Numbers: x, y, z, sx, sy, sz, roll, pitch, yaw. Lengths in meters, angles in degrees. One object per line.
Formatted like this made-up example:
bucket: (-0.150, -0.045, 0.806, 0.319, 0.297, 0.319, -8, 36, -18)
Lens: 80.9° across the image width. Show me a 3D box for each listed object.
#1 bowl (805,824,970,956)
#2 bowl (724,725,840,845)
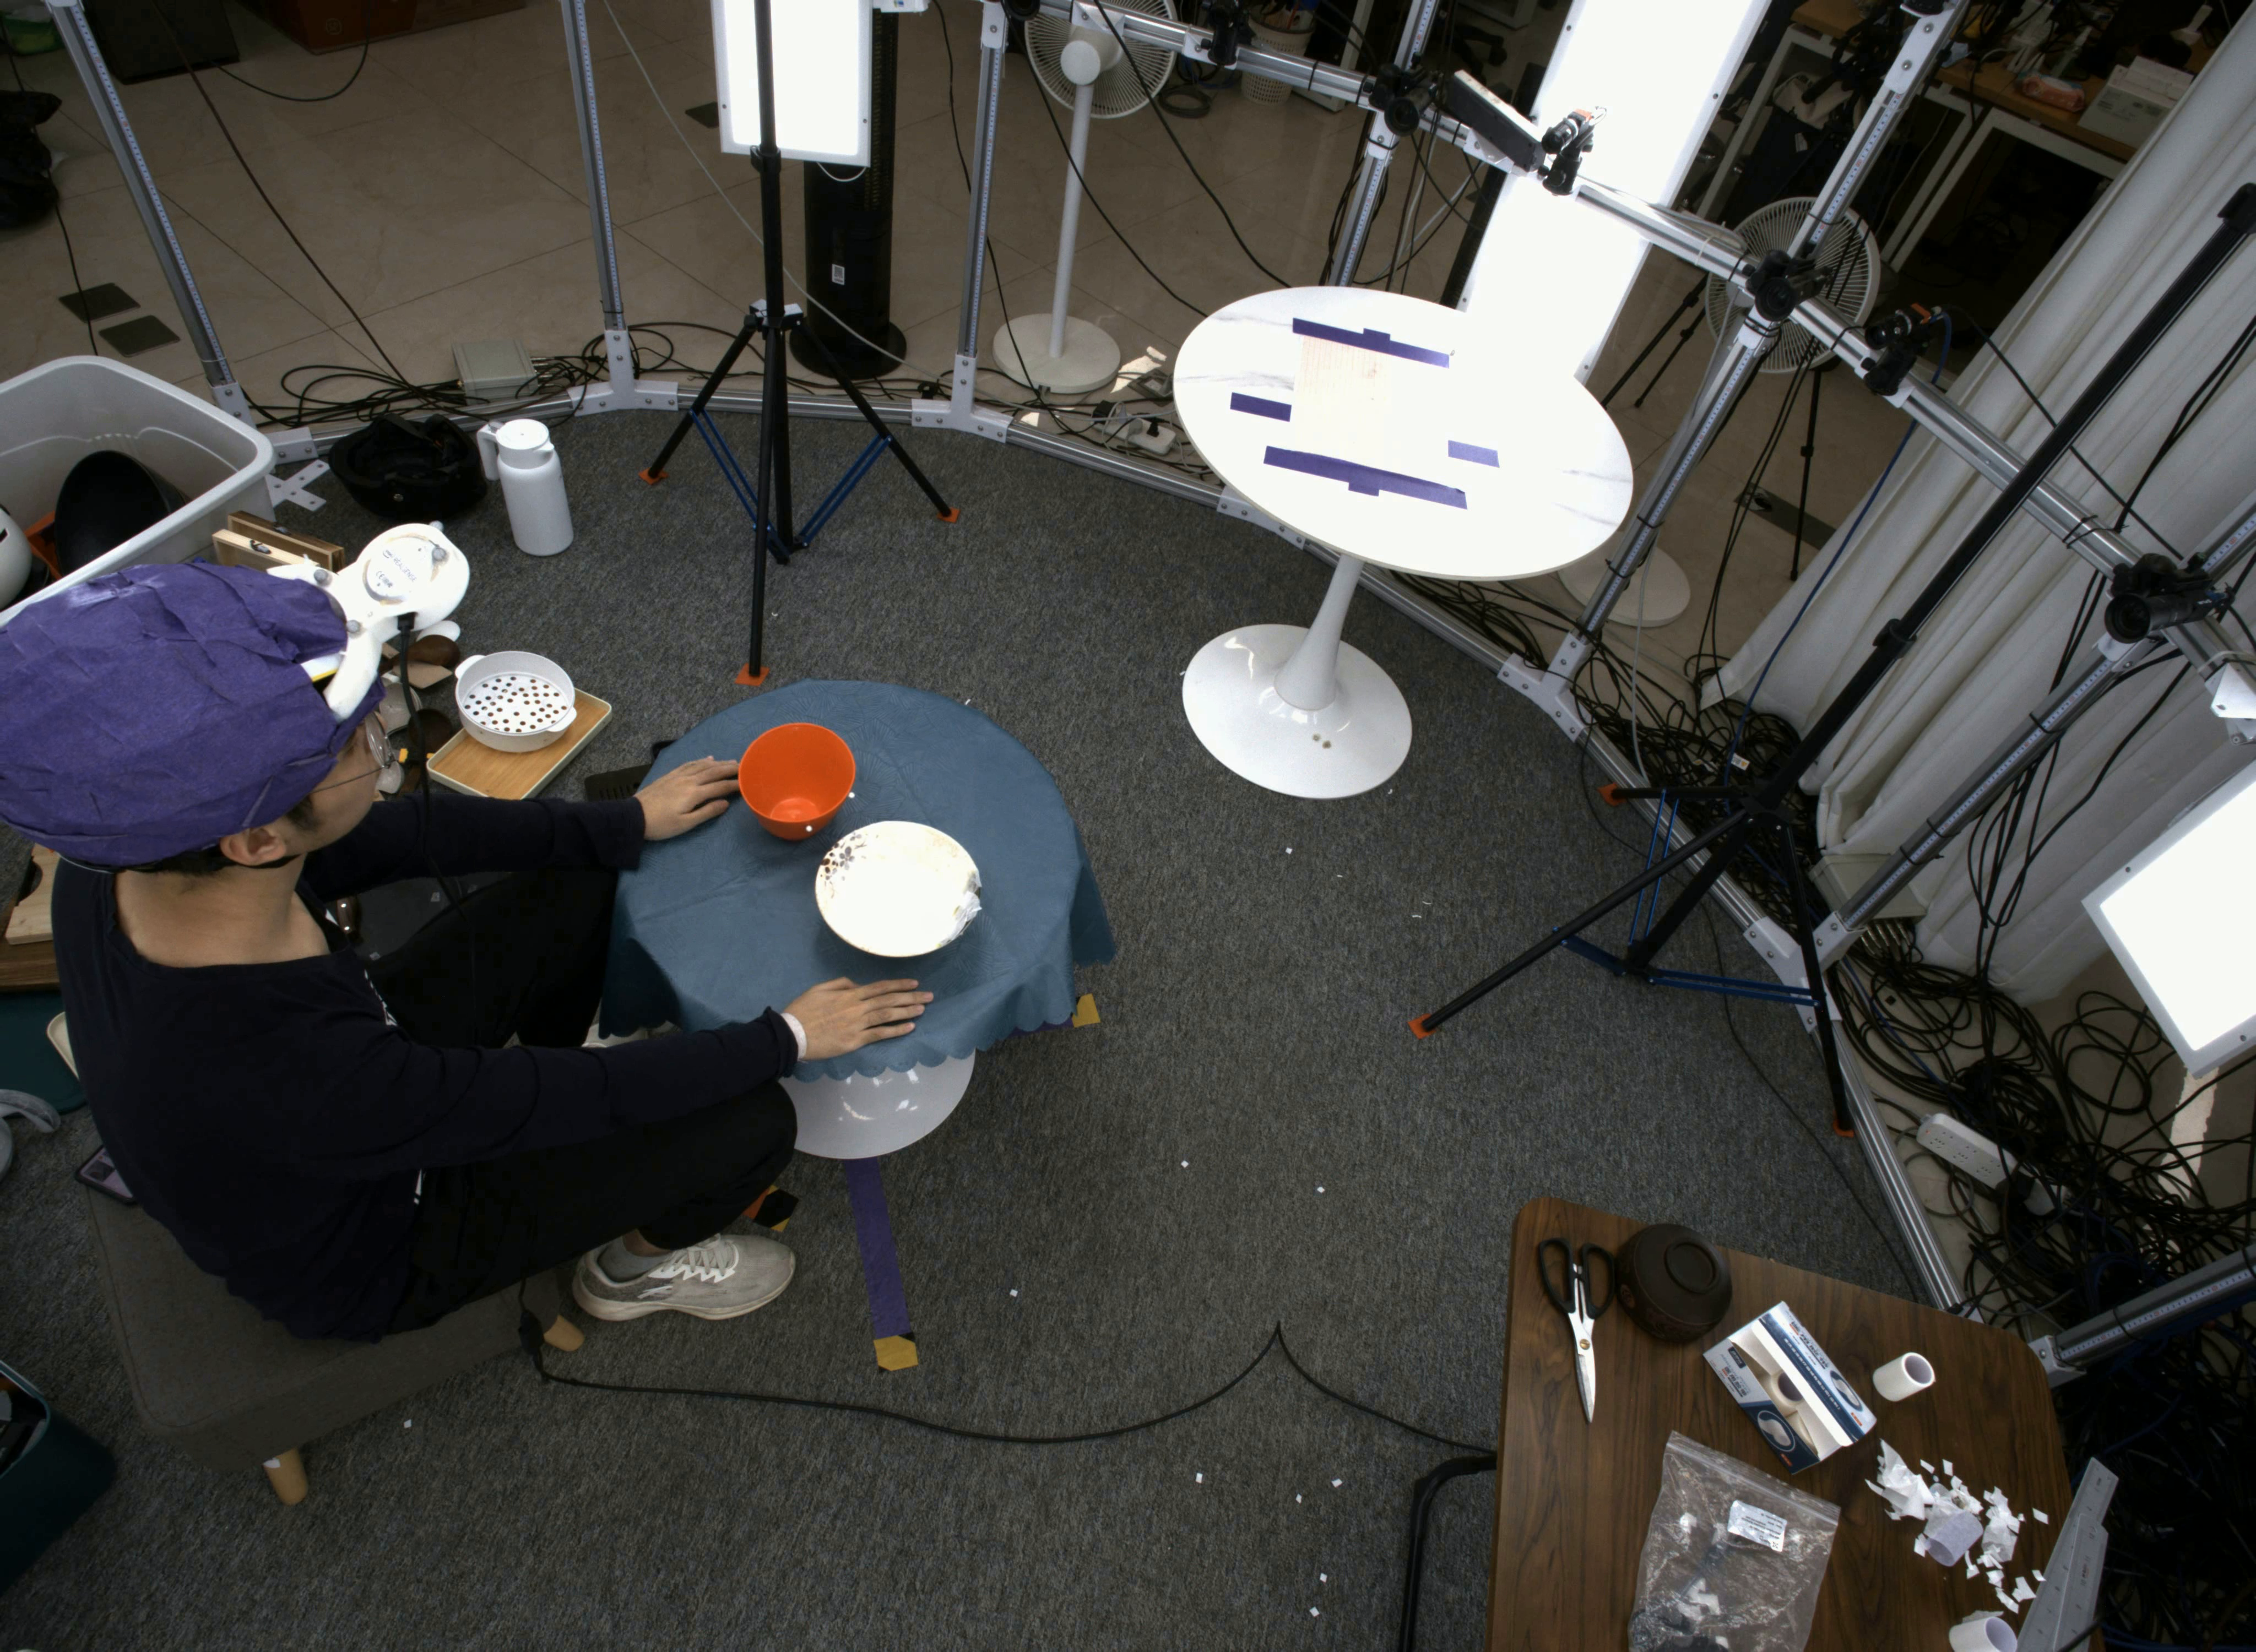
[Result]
bowl: (-0.303, 0.097, 1.641, 0.203, 0.079, 0.200, 8, 50, -8)
bowl: (-0.450, -0.043, 1.696, 0.147, 0.107, 0.145, 6, 54, -7)
